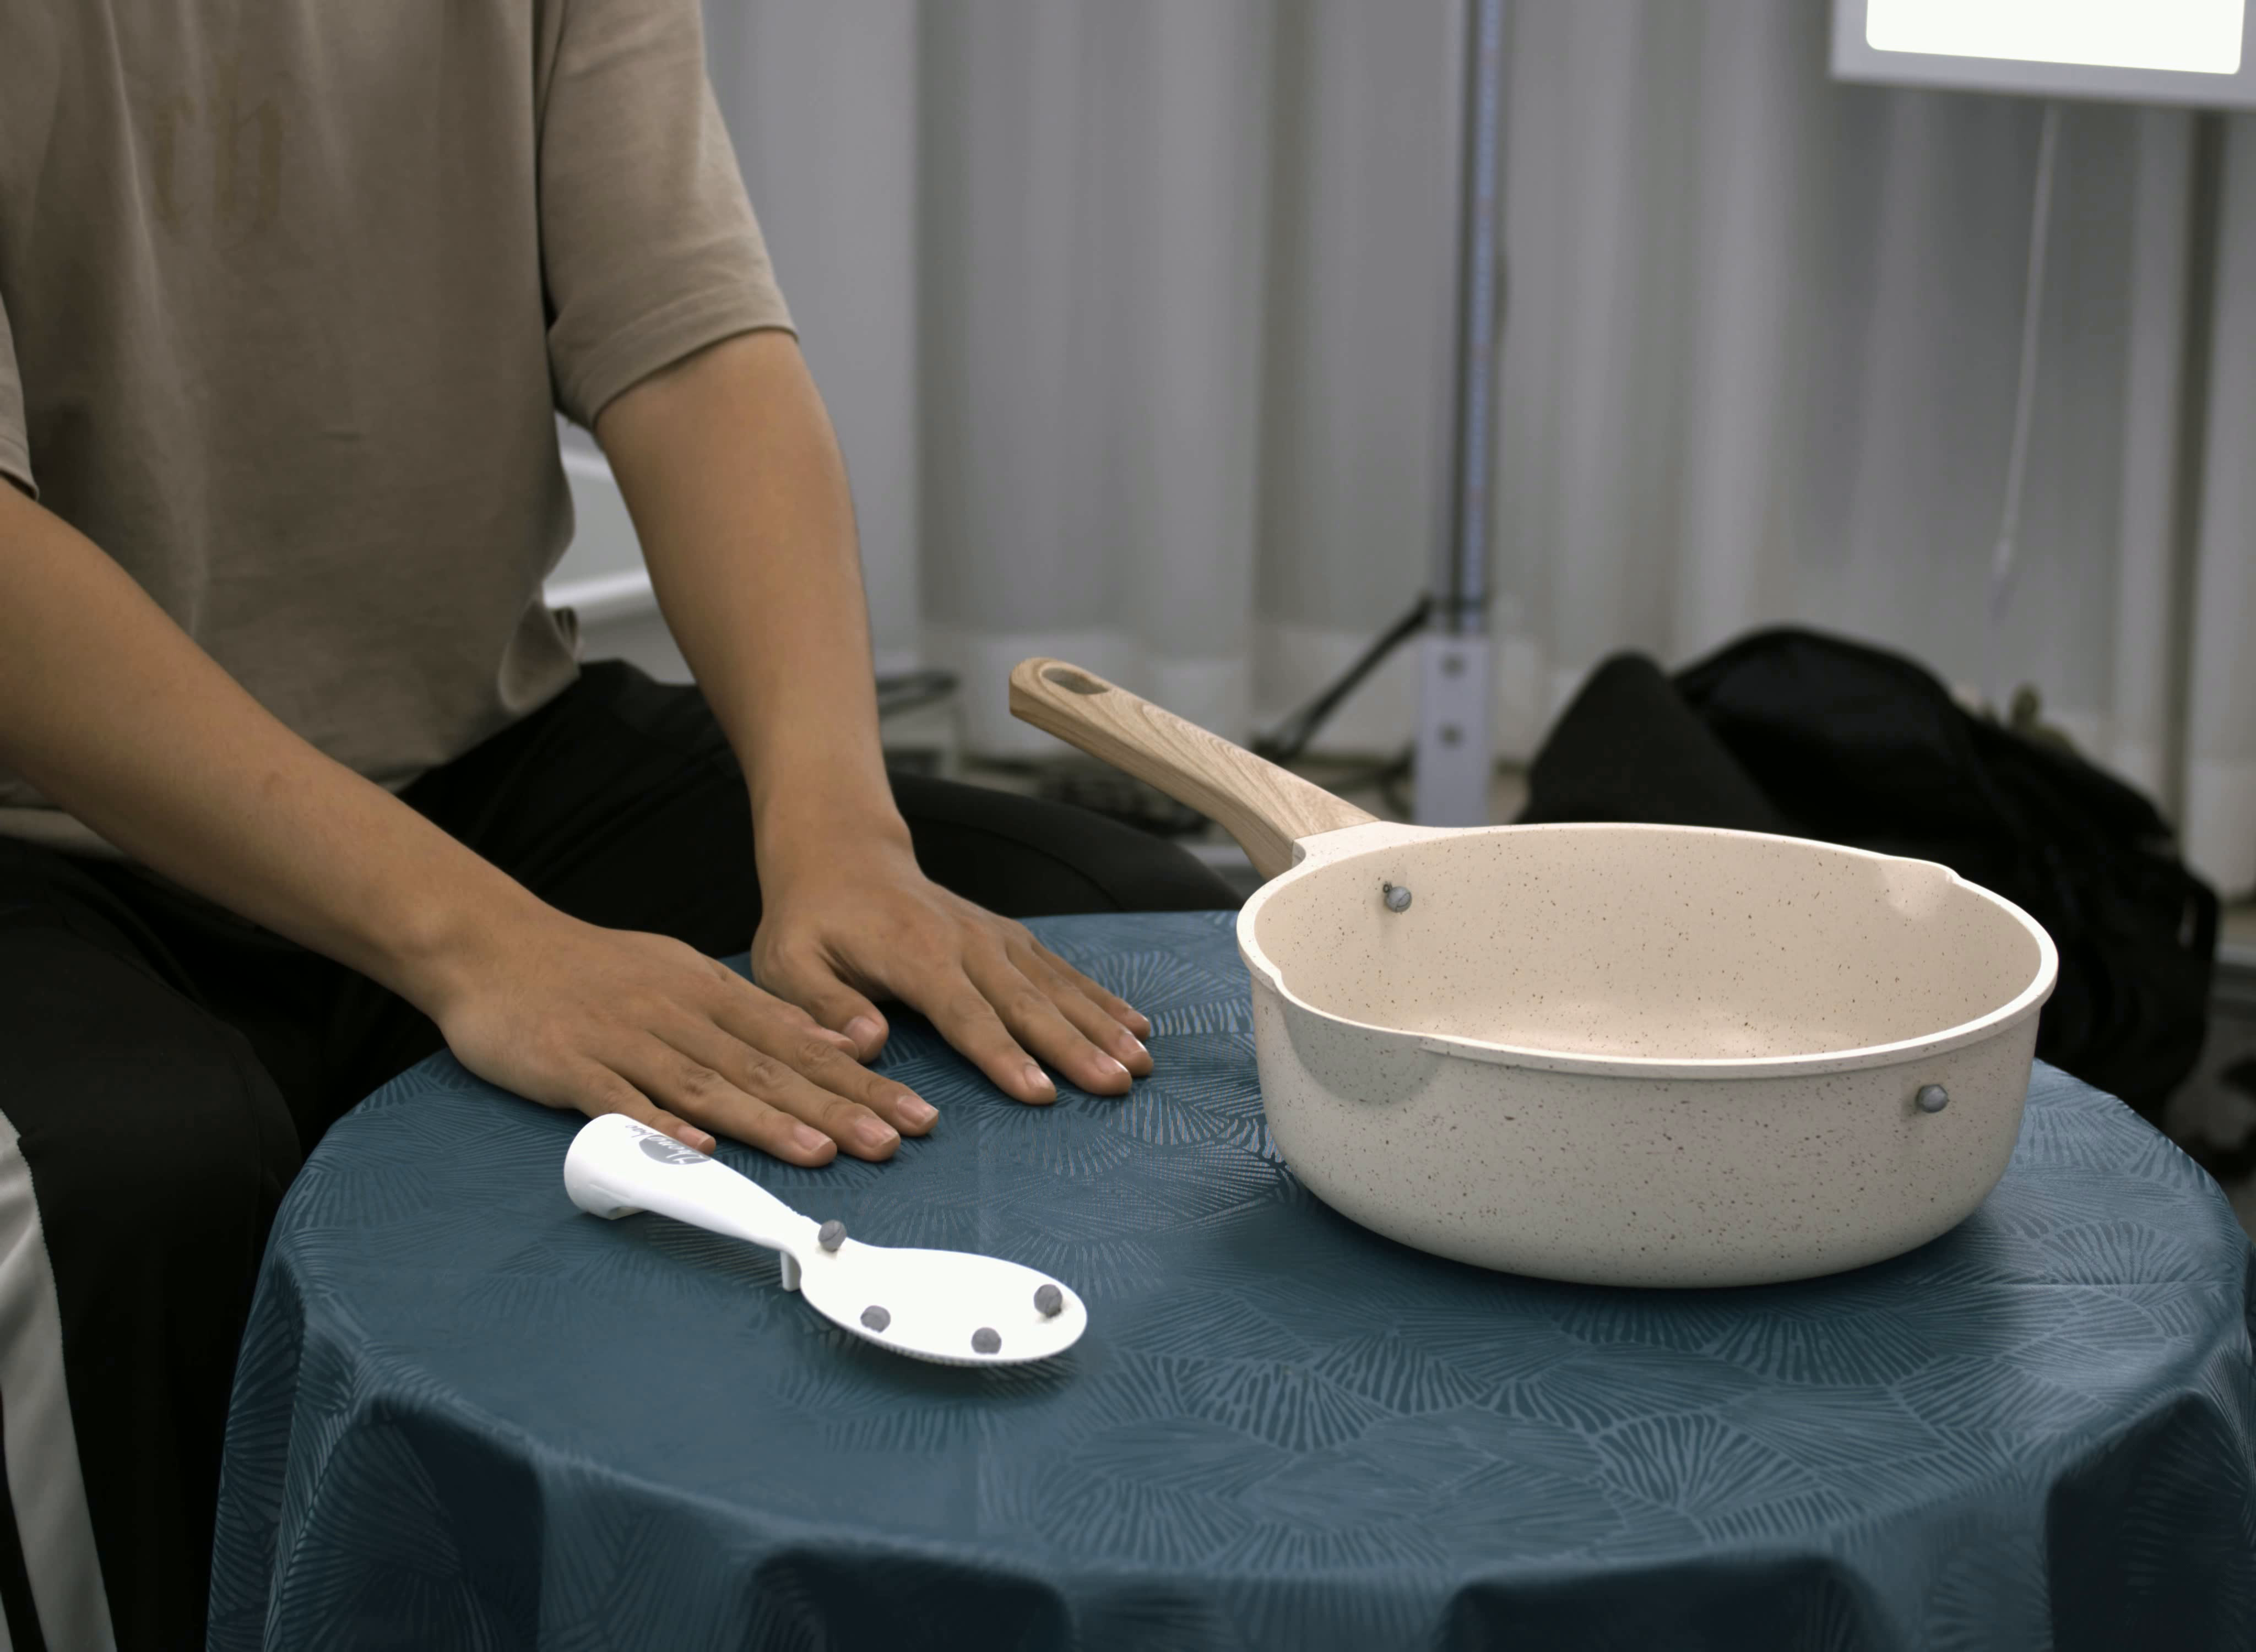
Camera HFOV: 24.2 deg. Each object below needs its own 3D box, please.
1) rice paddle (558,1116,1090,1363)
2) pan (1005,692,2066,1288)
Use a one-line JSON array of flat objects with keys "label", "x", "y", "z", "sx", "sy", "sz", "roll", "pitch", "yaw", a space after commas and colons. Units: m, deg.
[{"label": "rice paddle", "x": -0.090, "y": 0.122, "z": 1.530, "sx": 0.069, "sy": 0.029, "sz": 0.202, "roll": -17, "pitch": 23, "yaw": -42}, {"label": "pan", "x": 0.105, "y": 0.045, "z": 1.697, "sx": 0.264, "sy": 0.103, "sz": 0.429, "roll": -15, "pitch": 21, "yaw": -37}]
